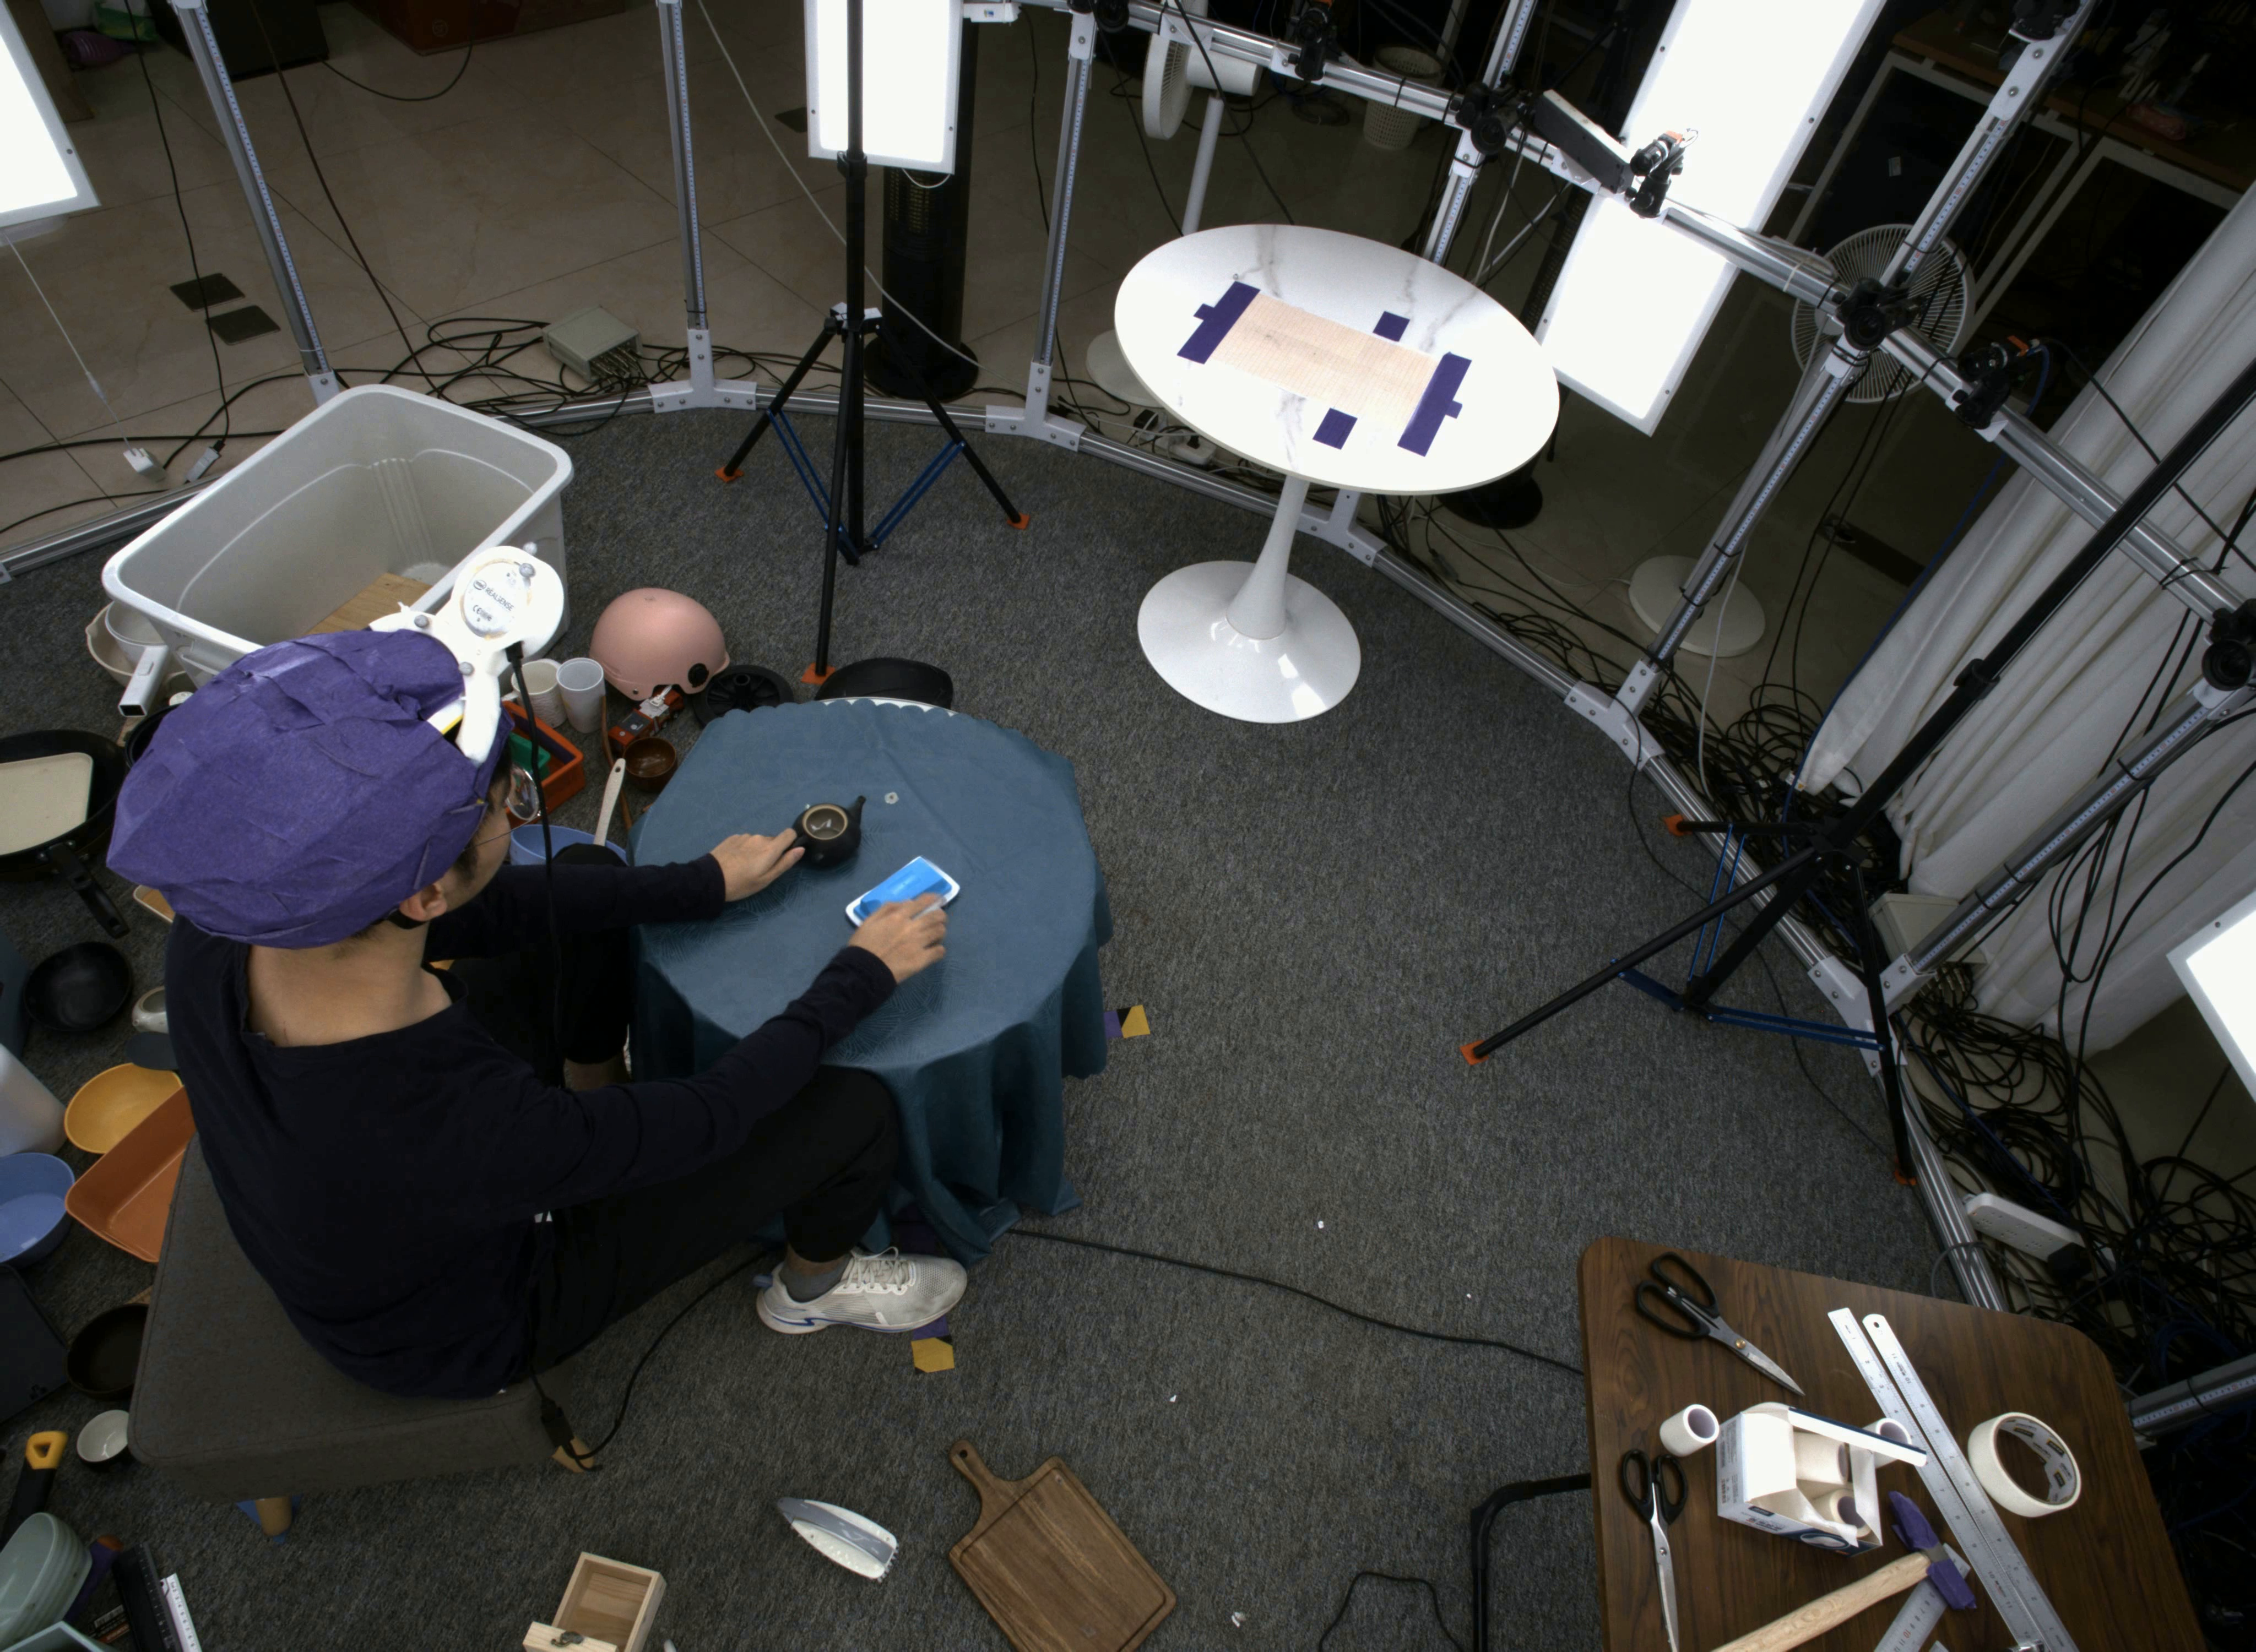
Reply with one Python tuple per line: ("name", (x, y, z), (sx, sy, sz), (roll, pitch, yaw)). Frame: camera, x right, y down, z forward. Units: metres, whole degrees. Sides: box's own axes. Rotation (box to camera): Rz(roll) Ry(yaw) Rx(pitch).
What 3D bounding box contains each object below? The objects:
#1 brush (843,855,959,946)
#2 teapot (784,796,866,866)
("brush", (-0.288, 0.086, 1.655), (0.082, 0.057, 0.144), (40, 52, 21))
("teapot", (-0.394, 0.009, 1.690), (0.089, 0.054, 0.133), (39, 54, 18))
